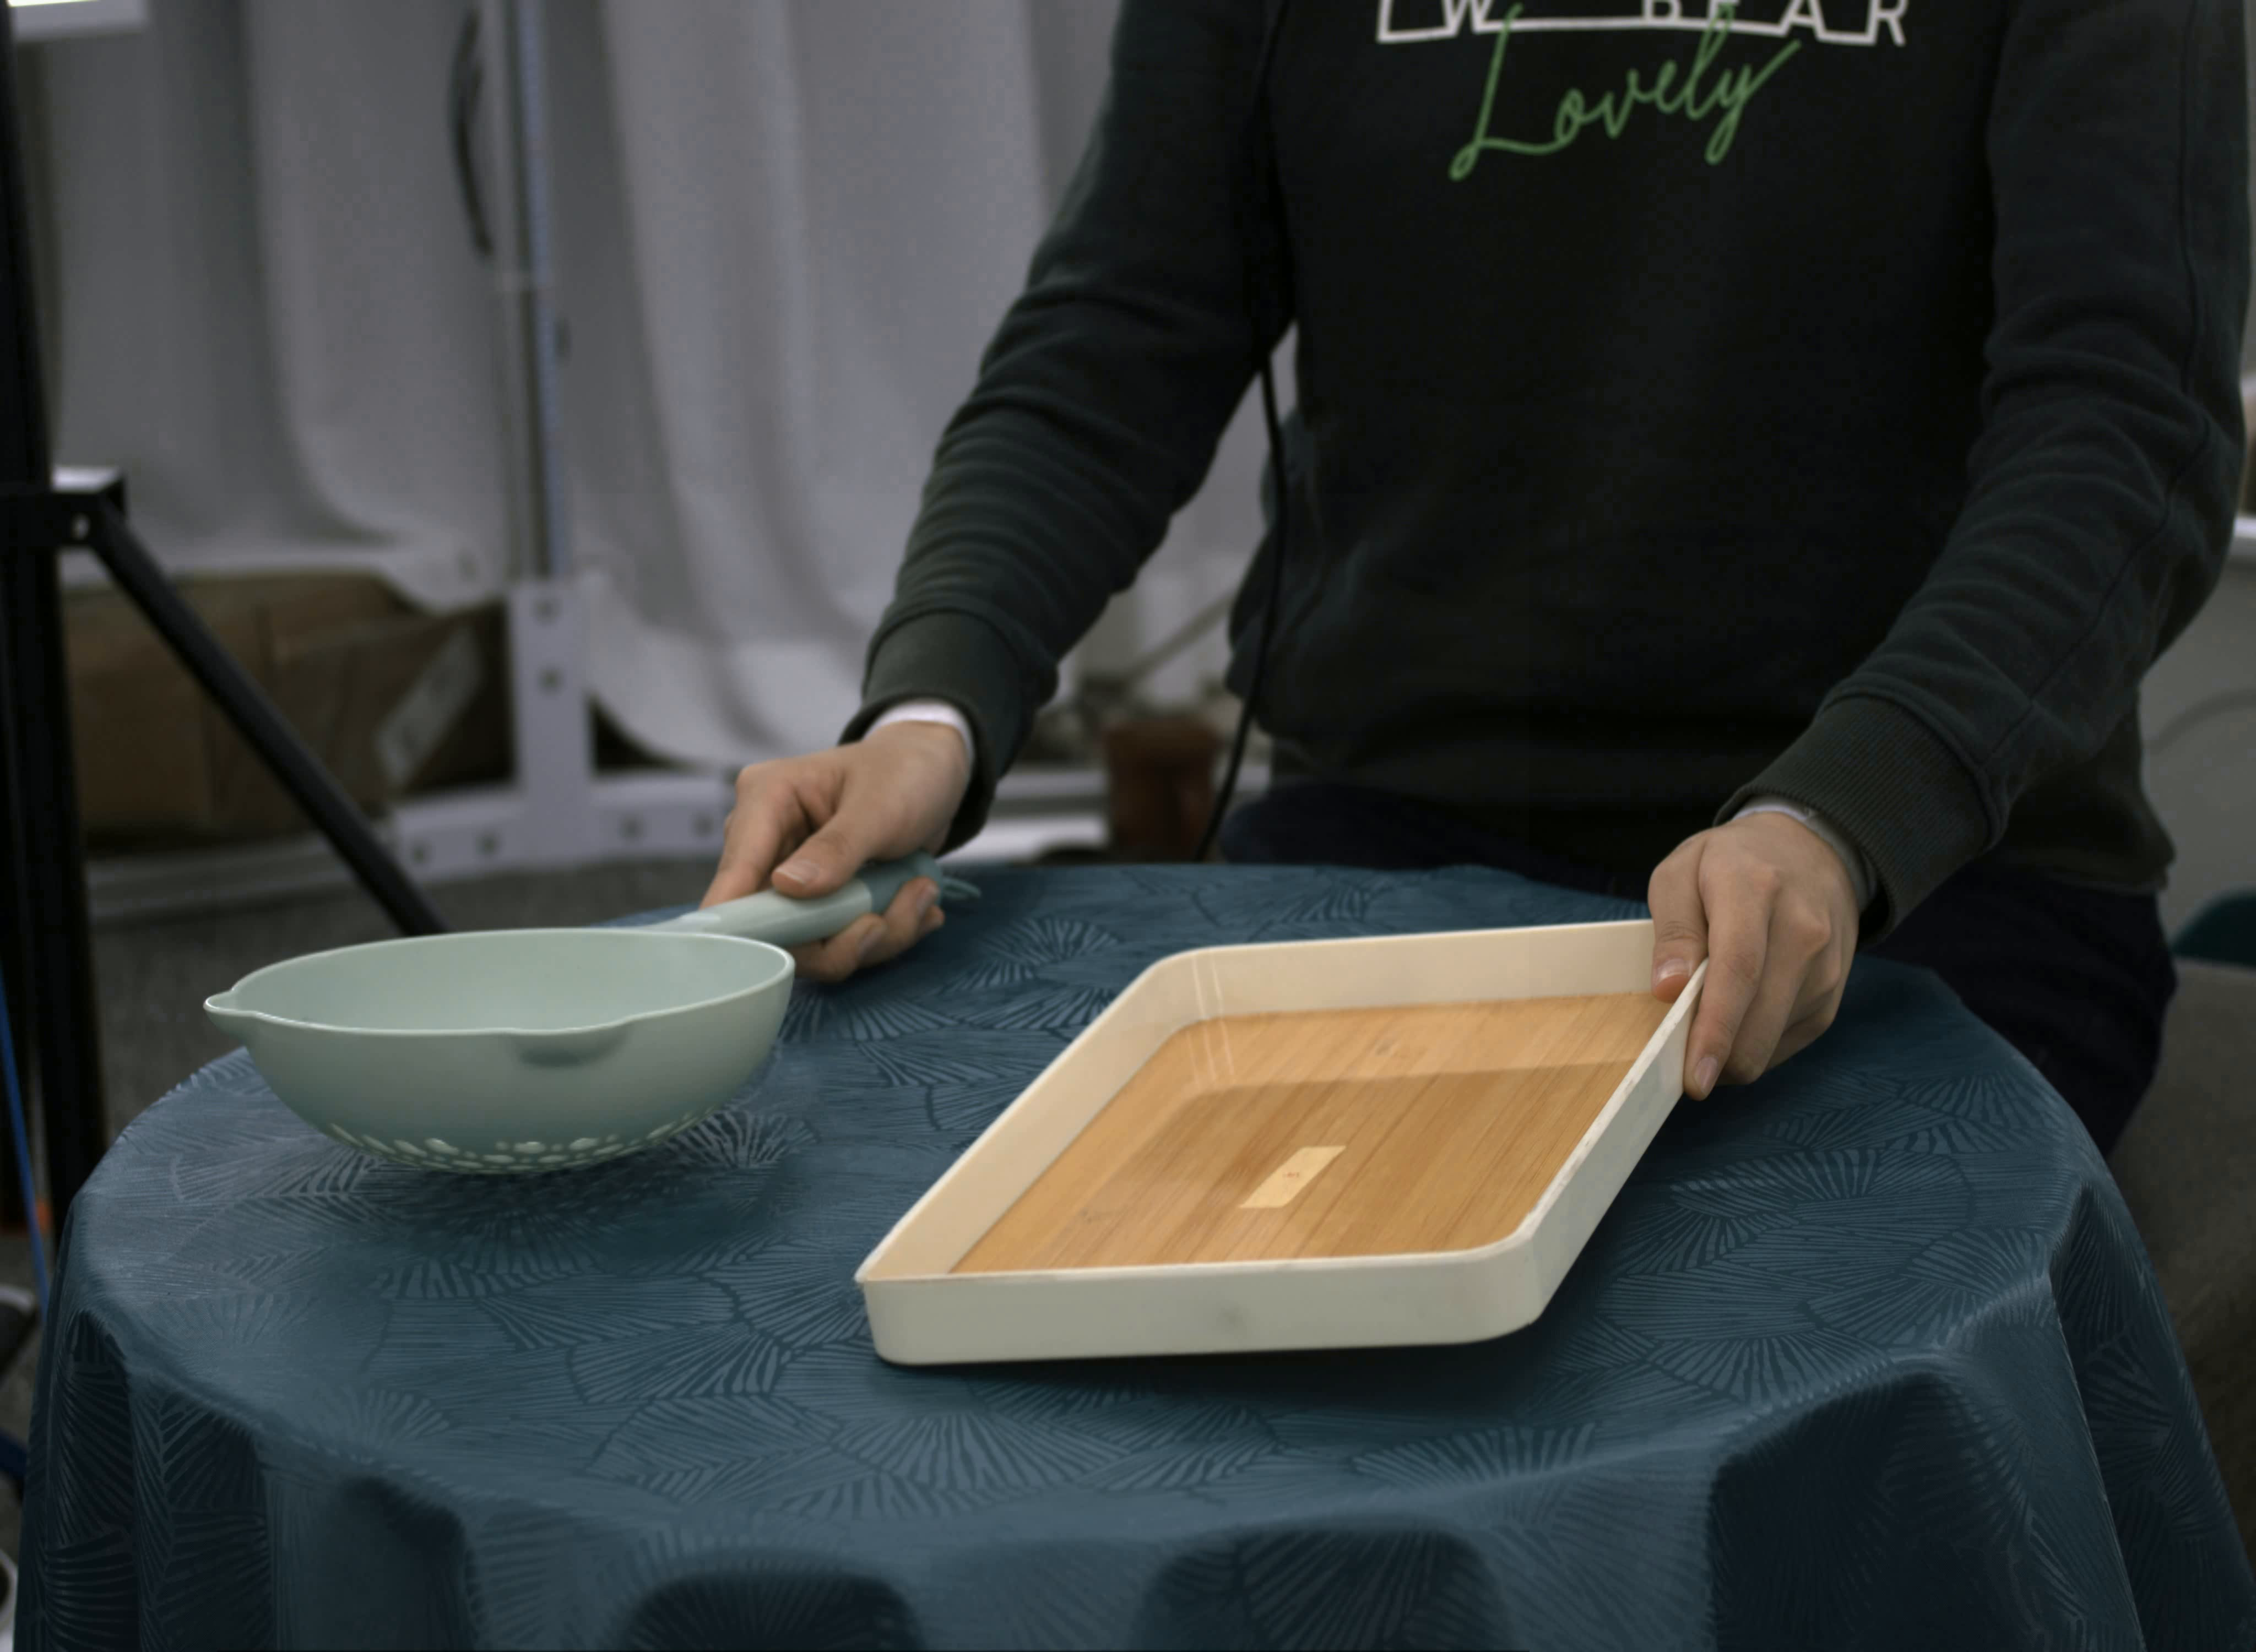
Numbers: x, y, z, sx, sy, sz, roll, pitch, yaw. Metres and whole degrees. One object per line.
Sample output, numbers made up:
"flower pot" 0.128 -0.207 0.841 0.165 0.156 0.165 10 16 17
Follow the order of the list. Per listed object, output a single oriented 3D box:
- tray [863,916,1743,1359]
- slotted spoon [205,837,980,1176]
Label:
"tray" 0.059 0.087 1.526 0.194 0.027 0.297 -4 15 20
"slotted spoon" -0.139 0.042 1.684 0.172 0.075 0.353 2 18 28
